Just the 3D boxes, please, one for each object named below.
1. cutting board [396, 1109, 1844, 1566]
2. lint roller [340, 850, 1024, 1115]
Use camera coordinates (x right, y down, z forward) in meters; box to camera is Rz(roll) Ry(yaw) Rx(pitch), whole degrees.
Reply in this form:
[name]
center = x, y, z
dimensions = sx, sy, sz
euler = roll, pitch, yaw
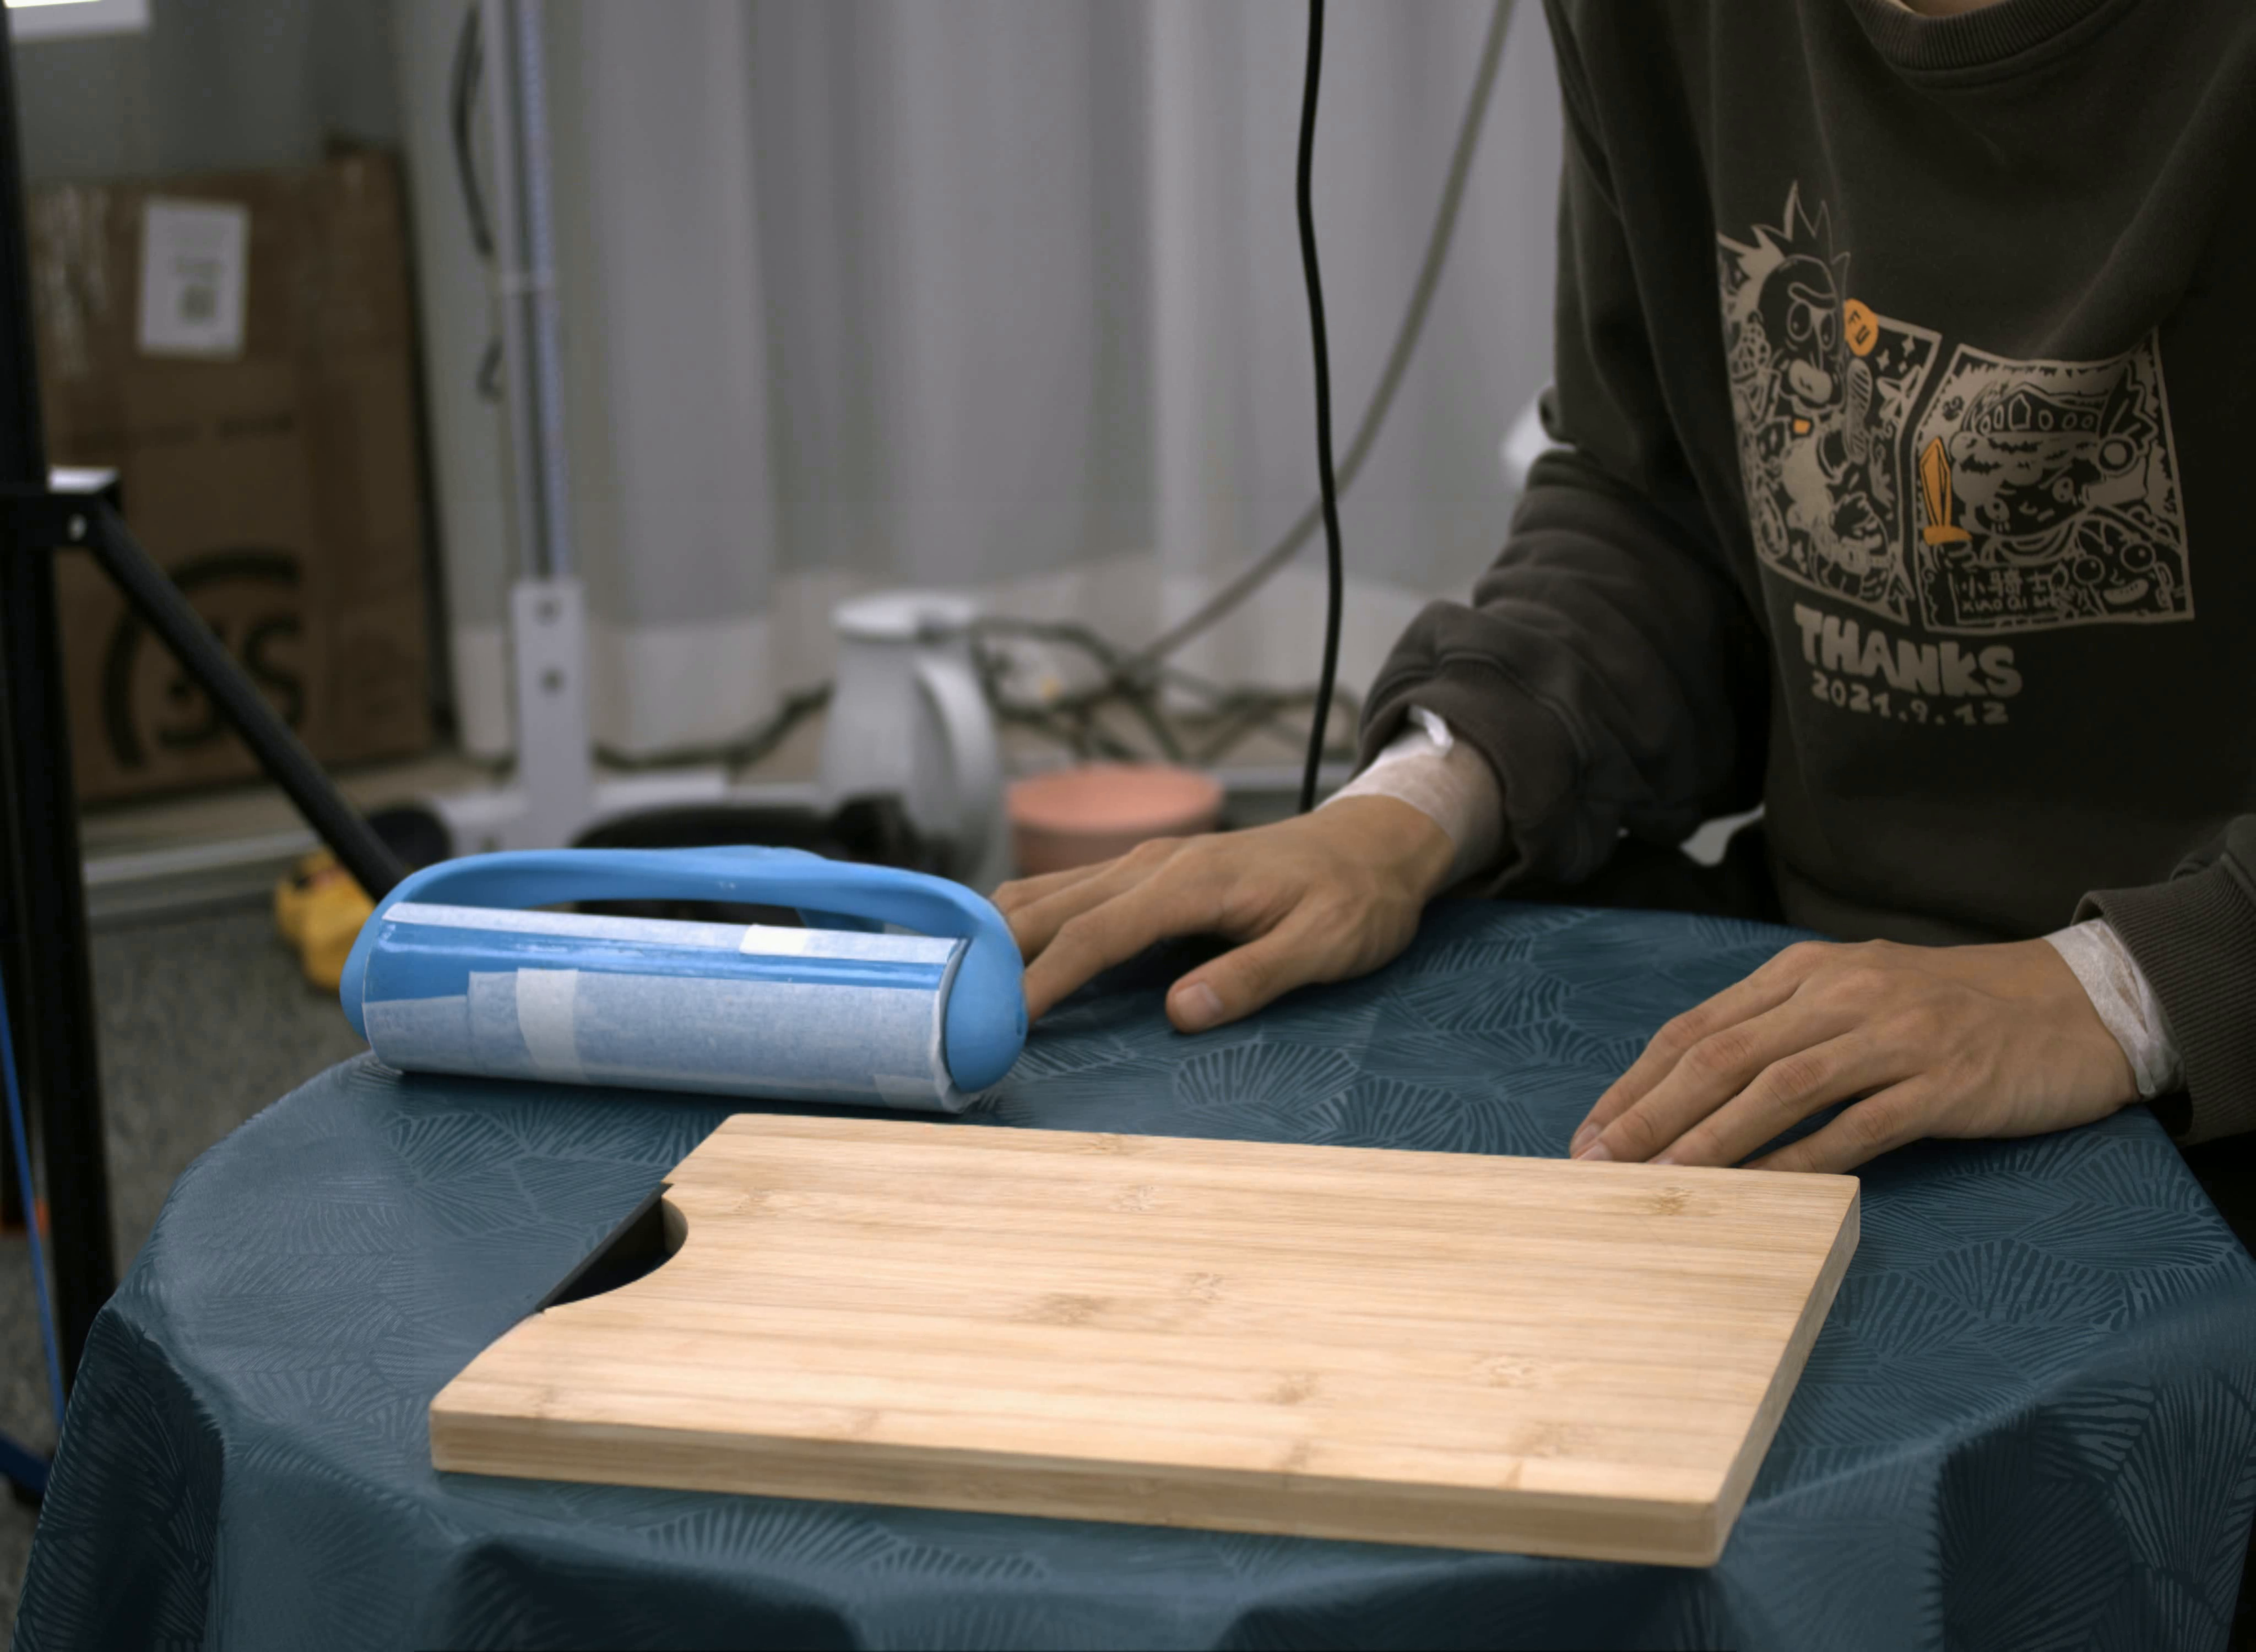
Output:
[cutting board]
center = 0.006, 0.134, 1.441
dimensions = 0.352, 0.023, 0.248
euler = 2, 16, 16
[lint roller]
center = -0.125, 0.038, 1.725
dimensions = 0.231, 0.068, 0.178
euler = 2, 18, 18
